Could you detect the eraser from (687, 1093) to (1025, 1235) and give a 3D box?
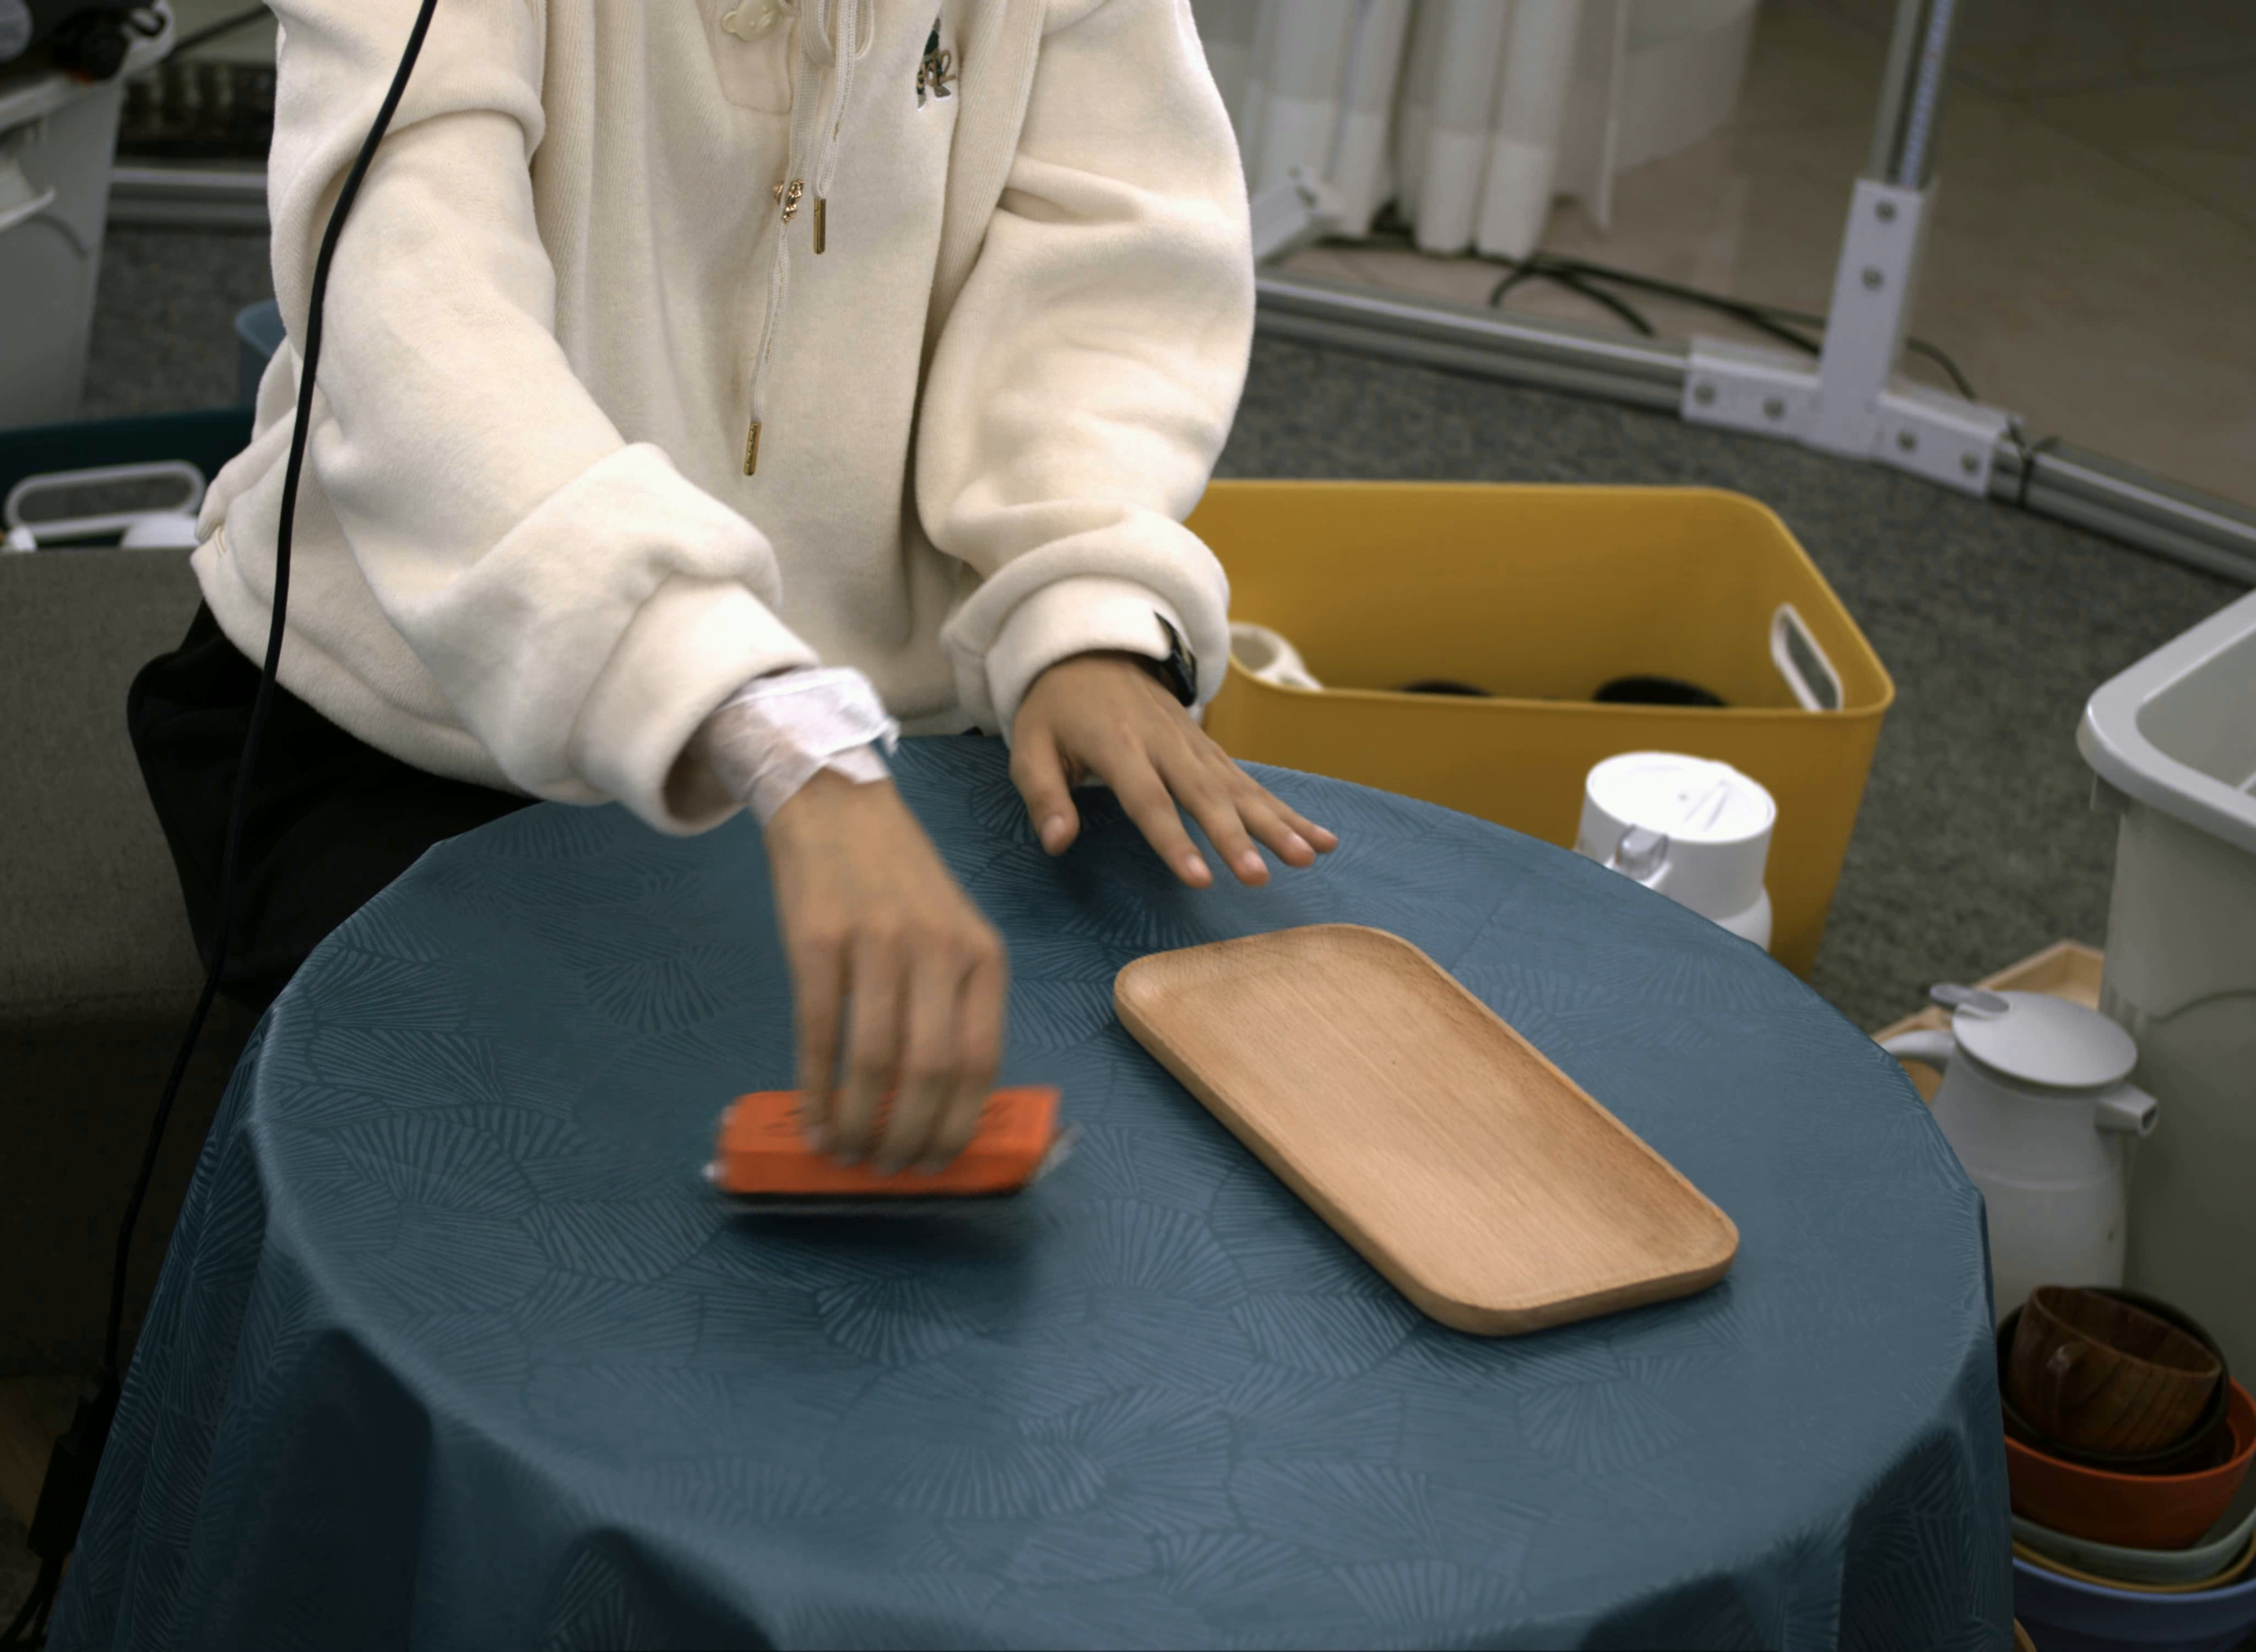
[{"bbox_3d":[-0.089,0.112,1.760,0.108,0.023,0.059,3,20,6],"label":"eraser"}]

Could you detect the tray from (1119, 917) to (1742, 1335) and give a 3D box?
[{"bbox_3d":[0.101,0.101,1.848,0.129,0.023,0.253,-6,29,-29],"label":"tray"}]
